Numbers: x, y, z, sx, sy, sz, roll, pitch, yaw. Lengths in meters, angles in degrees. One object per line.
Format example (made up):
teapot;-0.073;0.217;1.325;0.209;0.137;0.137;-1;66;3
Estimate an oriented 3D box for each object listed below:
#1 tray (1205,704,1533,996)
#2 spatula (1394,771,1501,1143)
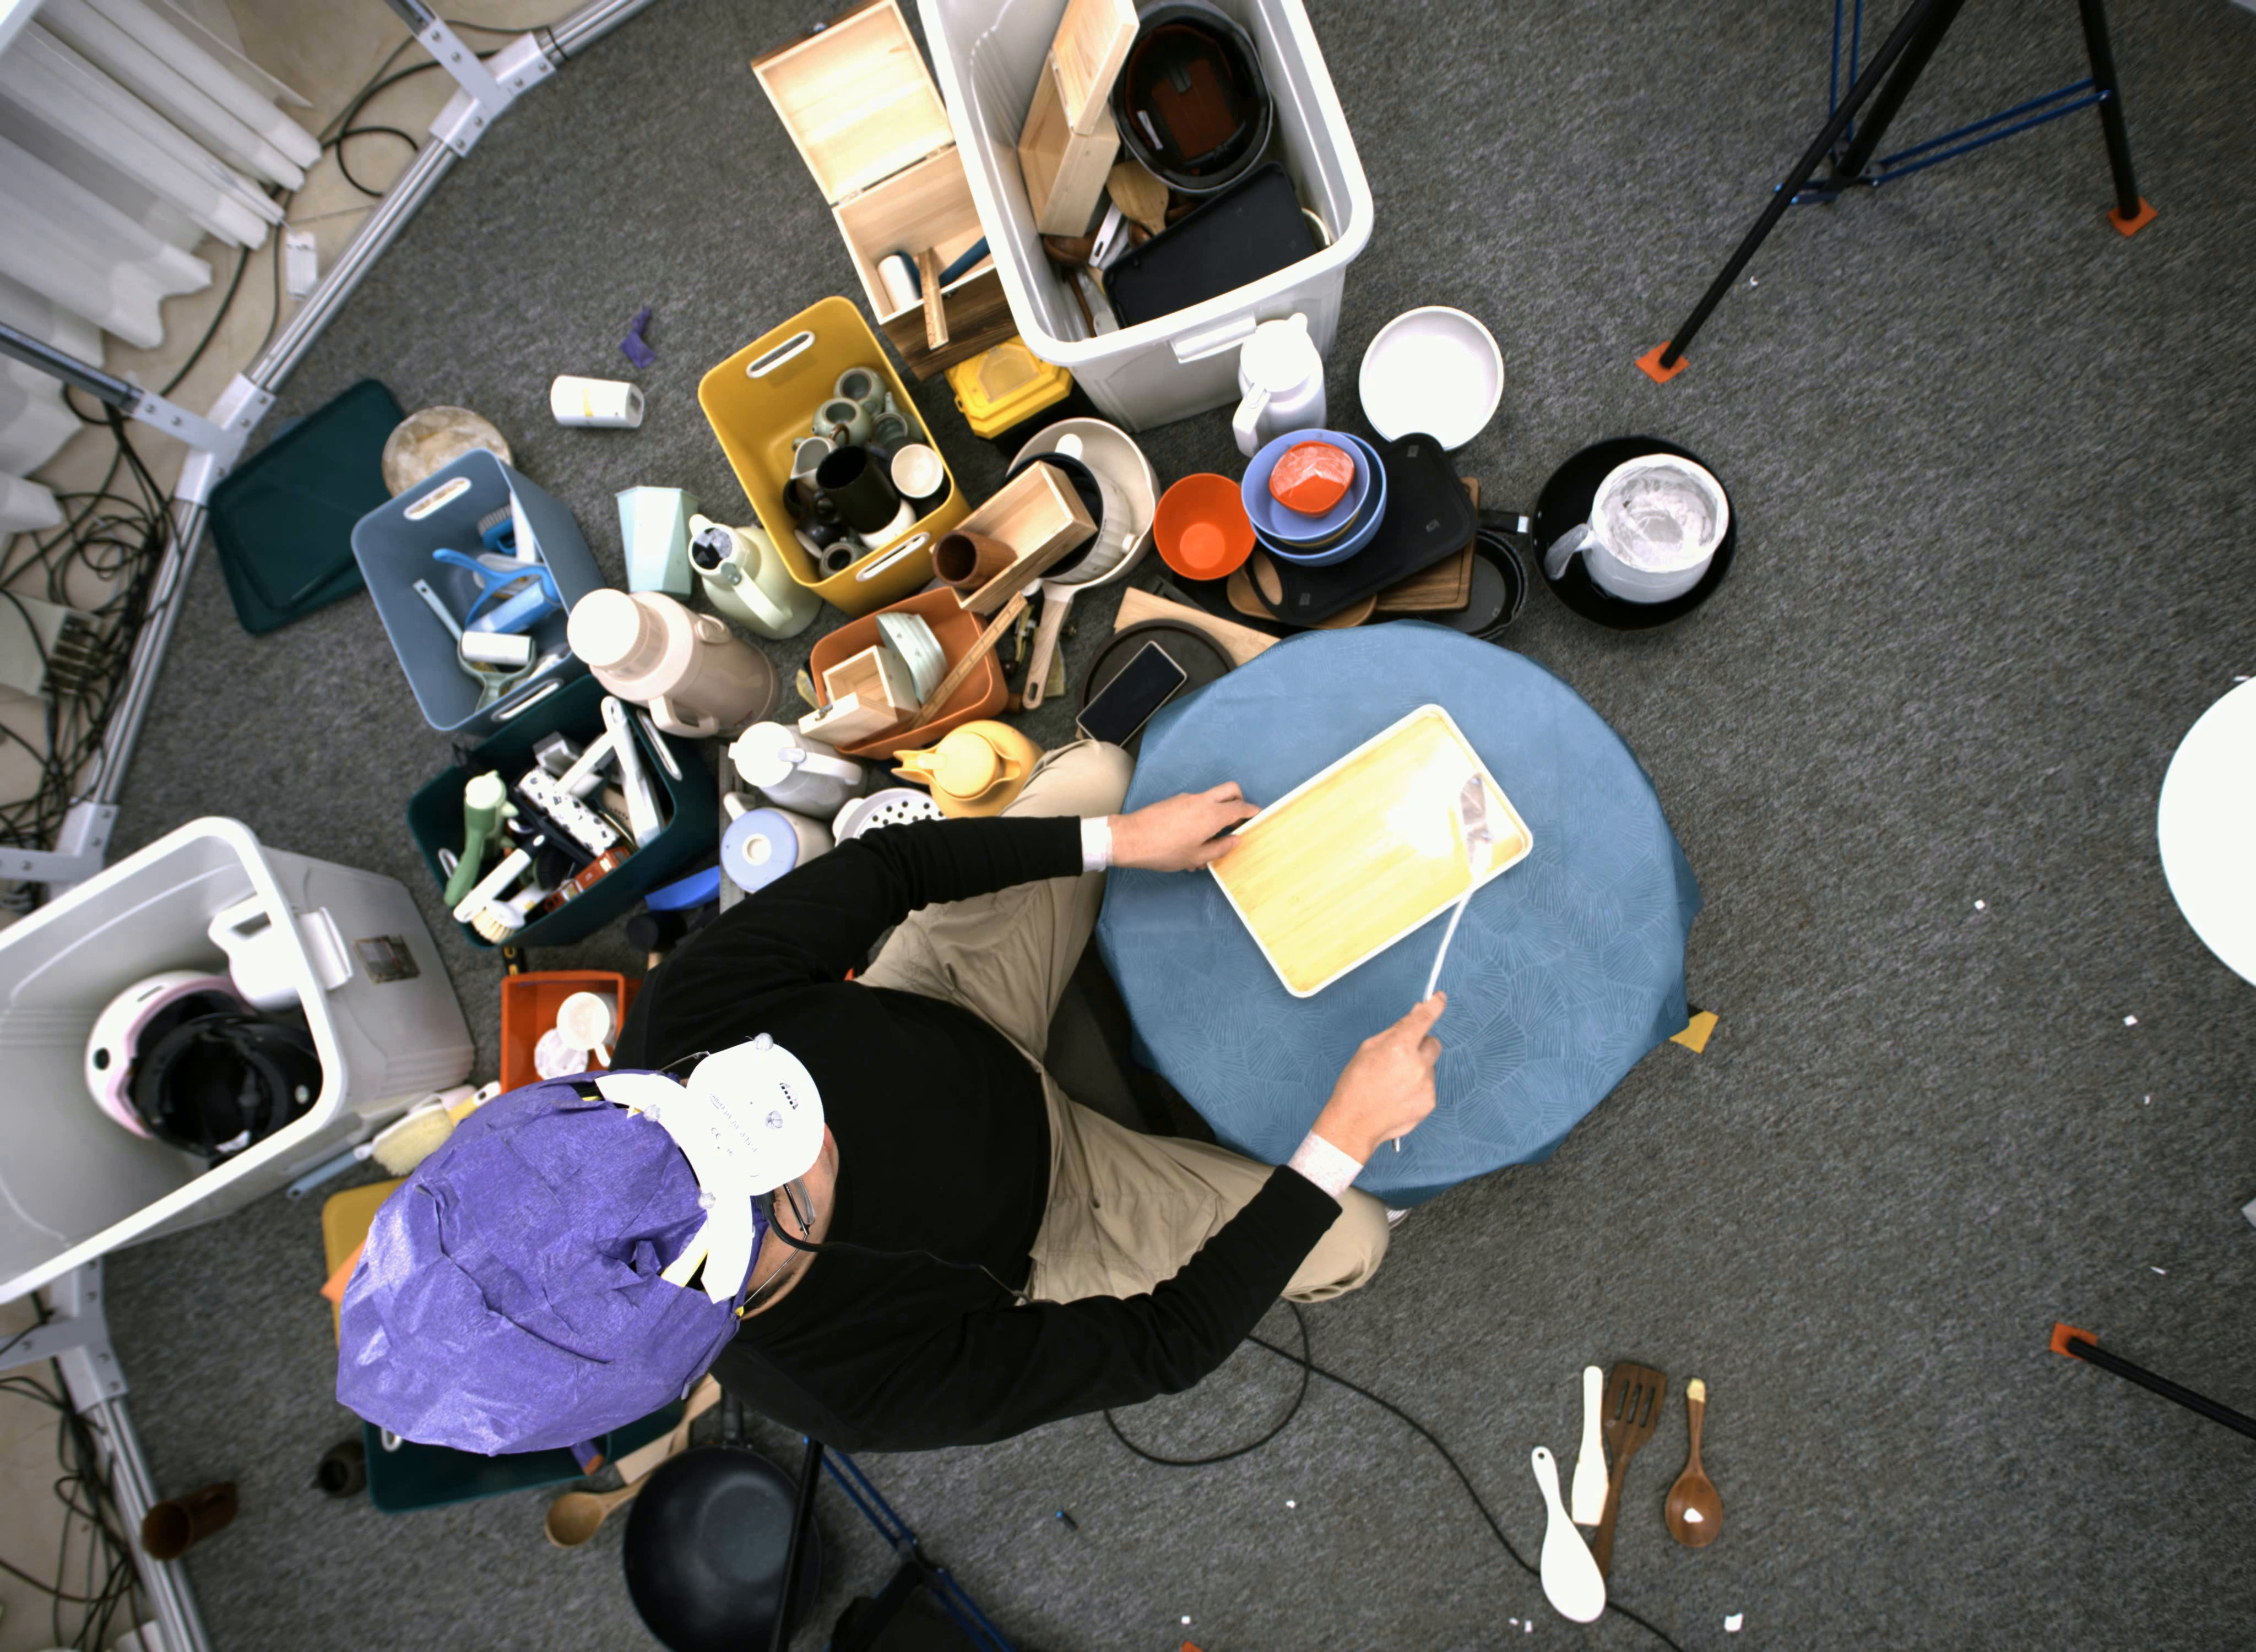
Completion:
tray;0.251;0.025;1.453;0.302;0.027;0.190;-33;82;7
spatula;0.300;0.123;1.323;0.045;0.099;0.363;20;86;-1
